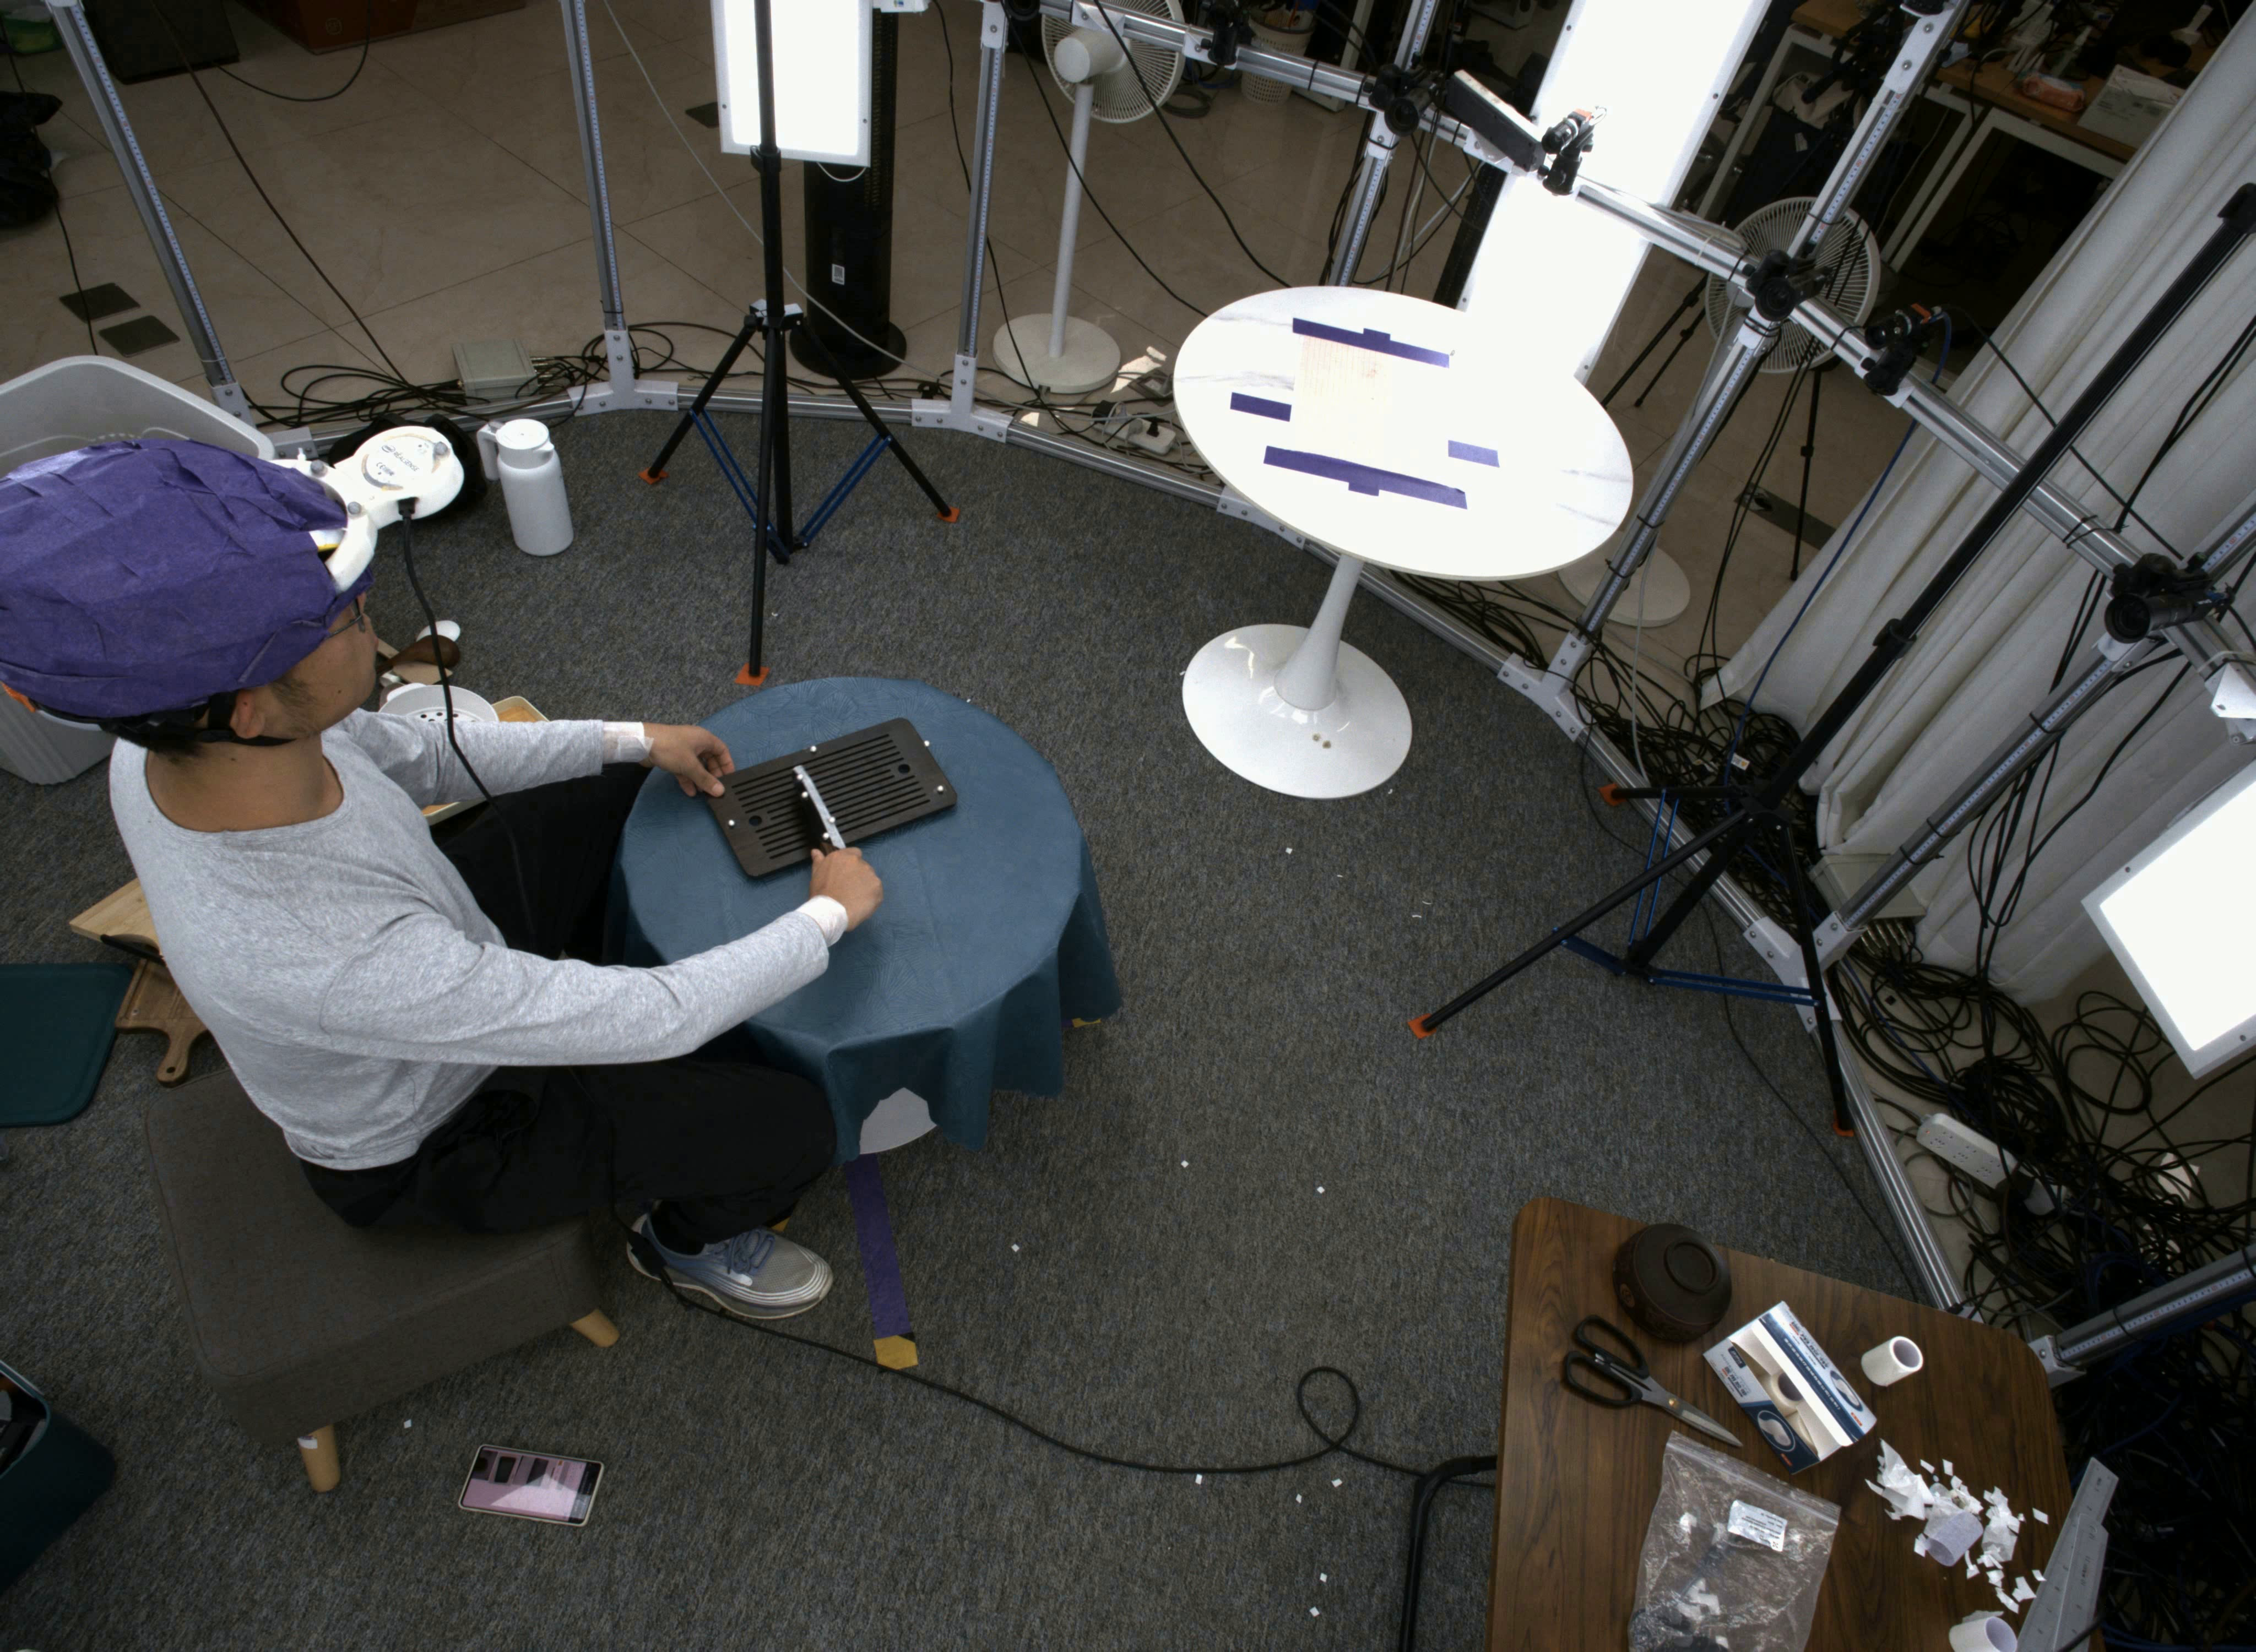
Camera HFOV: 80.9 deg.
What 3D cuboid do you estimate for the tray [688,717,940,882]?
[{"bbox_3d":[-0.422,-0.040,1.753,0.307,0.019,0.166,-23,64,-27],"label":"tray"}]

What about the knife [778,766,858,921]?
[{"bbox_3d":[-0.398,0.014,1.651,0.052,0.020,0.280,26,25,-50],"label":"knife"}]
